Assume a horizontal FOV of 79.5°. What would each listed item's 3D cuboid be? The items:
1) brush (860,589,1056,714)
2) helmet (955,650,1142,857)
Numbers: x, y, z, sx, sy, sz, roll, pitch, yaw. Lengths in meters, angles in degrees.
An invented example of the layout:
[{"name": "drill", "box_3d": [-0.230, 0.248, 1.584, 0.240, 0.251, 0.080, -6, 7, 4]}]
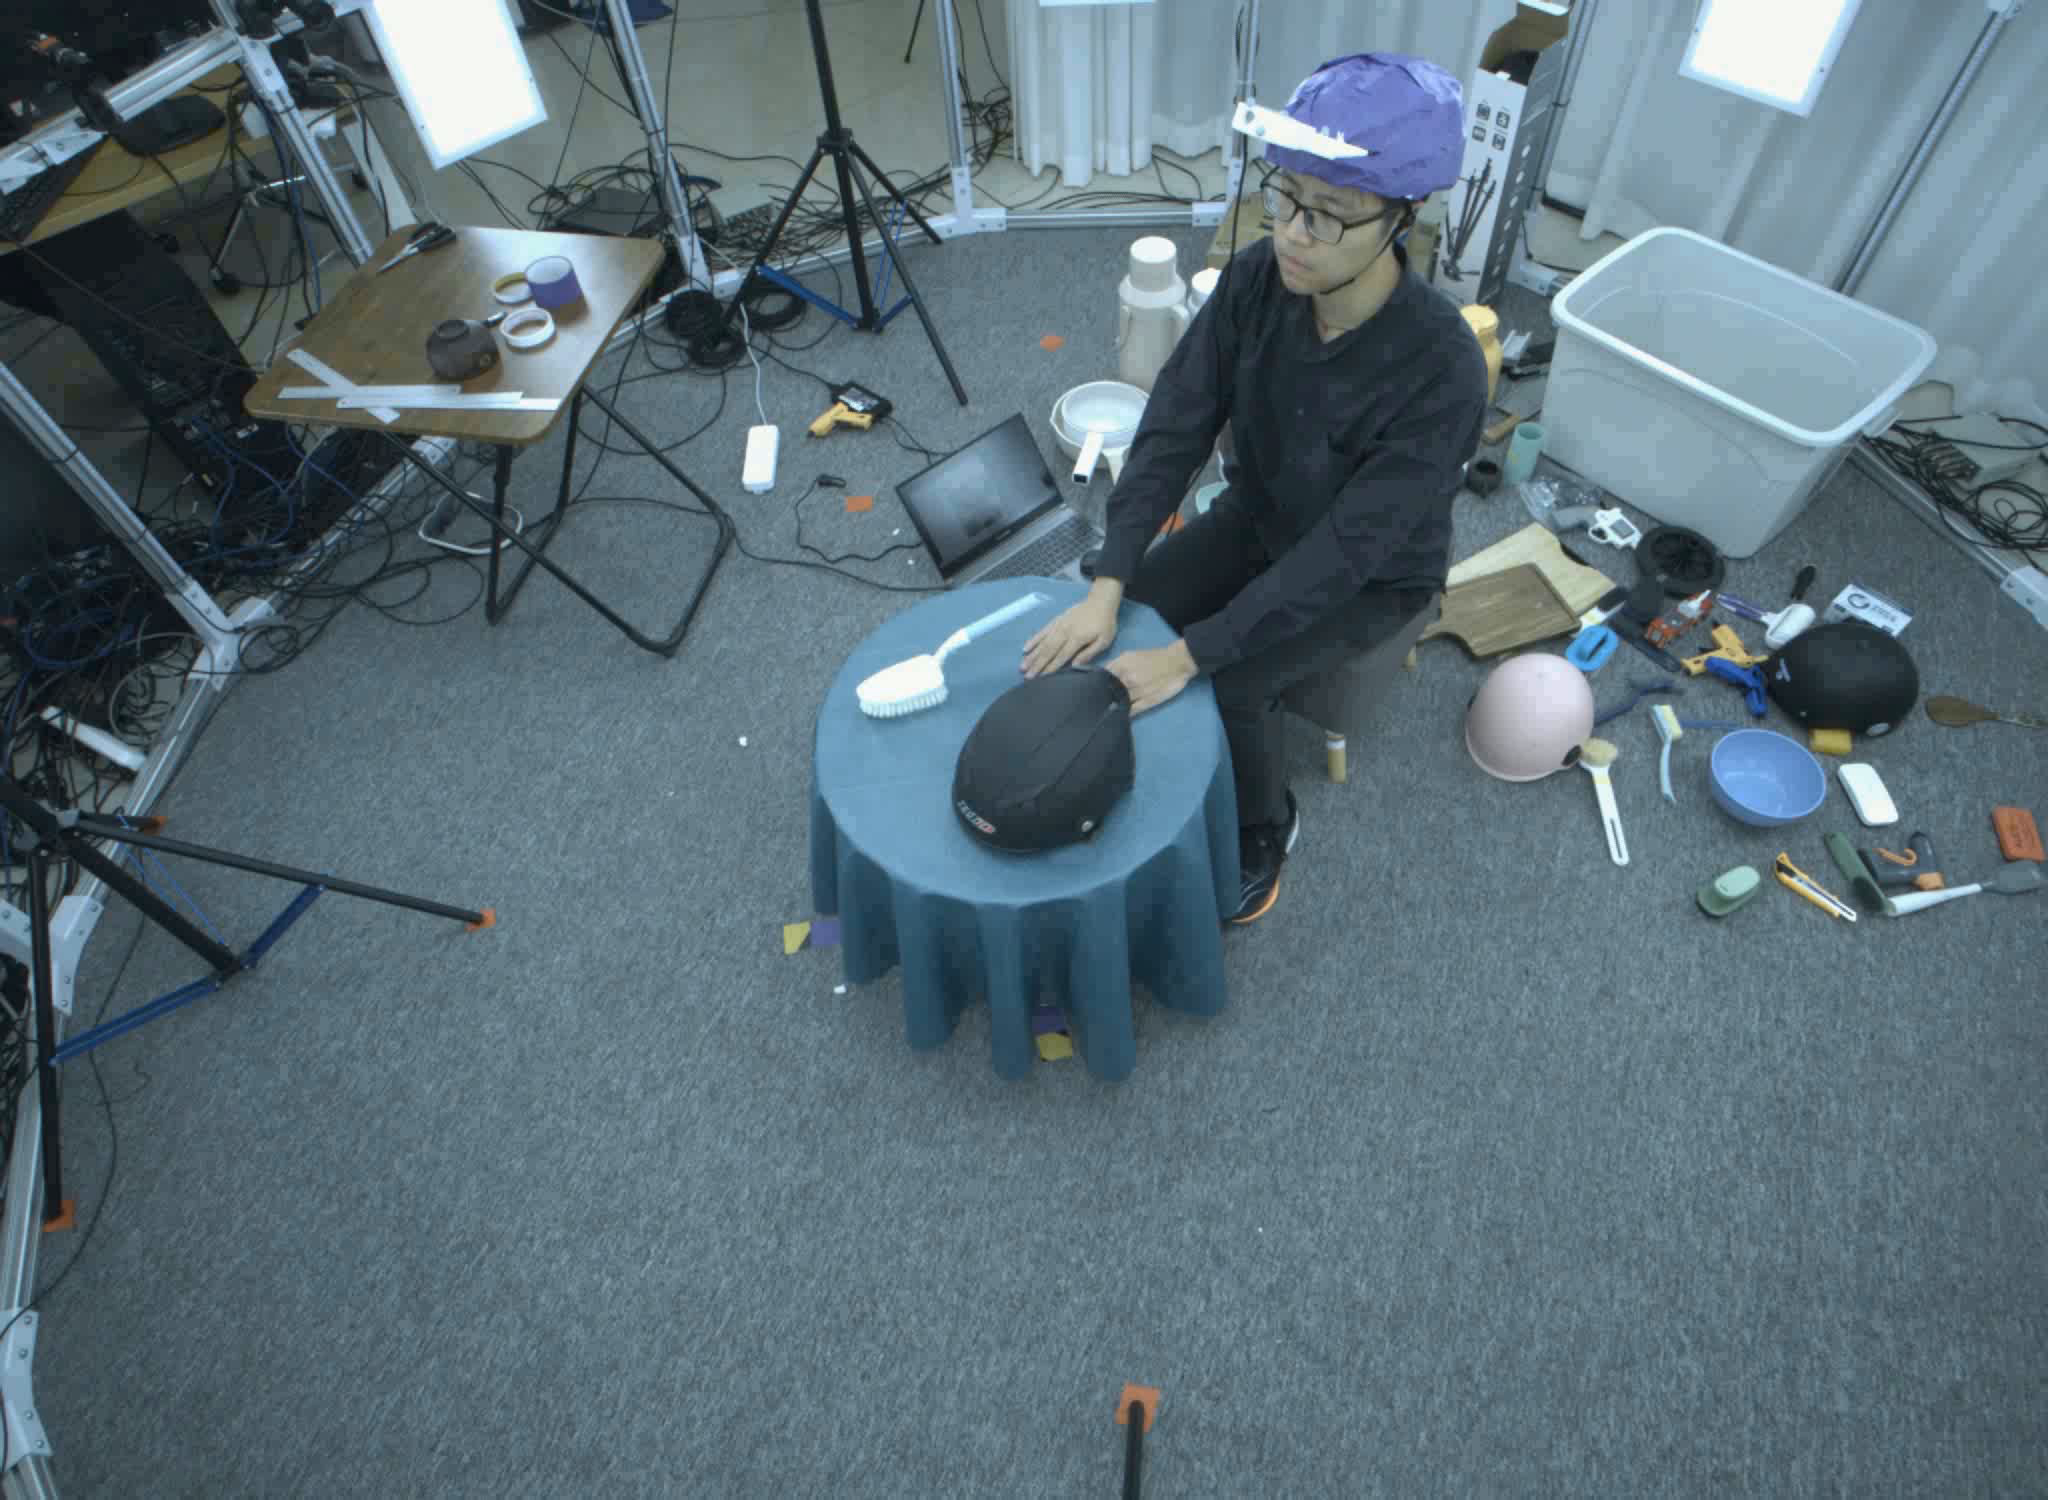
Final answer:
[{"name": "brush", "box_3d": [-0.091, -0.137, 1.837, 0.326, 0.084, 0.083, -27, 93, -2]}, {"name": "helmet", "box_3d": [0.031, -0.003, 1.687, 0.278, 0.174, 0.242, -39, 61, -20]}]
